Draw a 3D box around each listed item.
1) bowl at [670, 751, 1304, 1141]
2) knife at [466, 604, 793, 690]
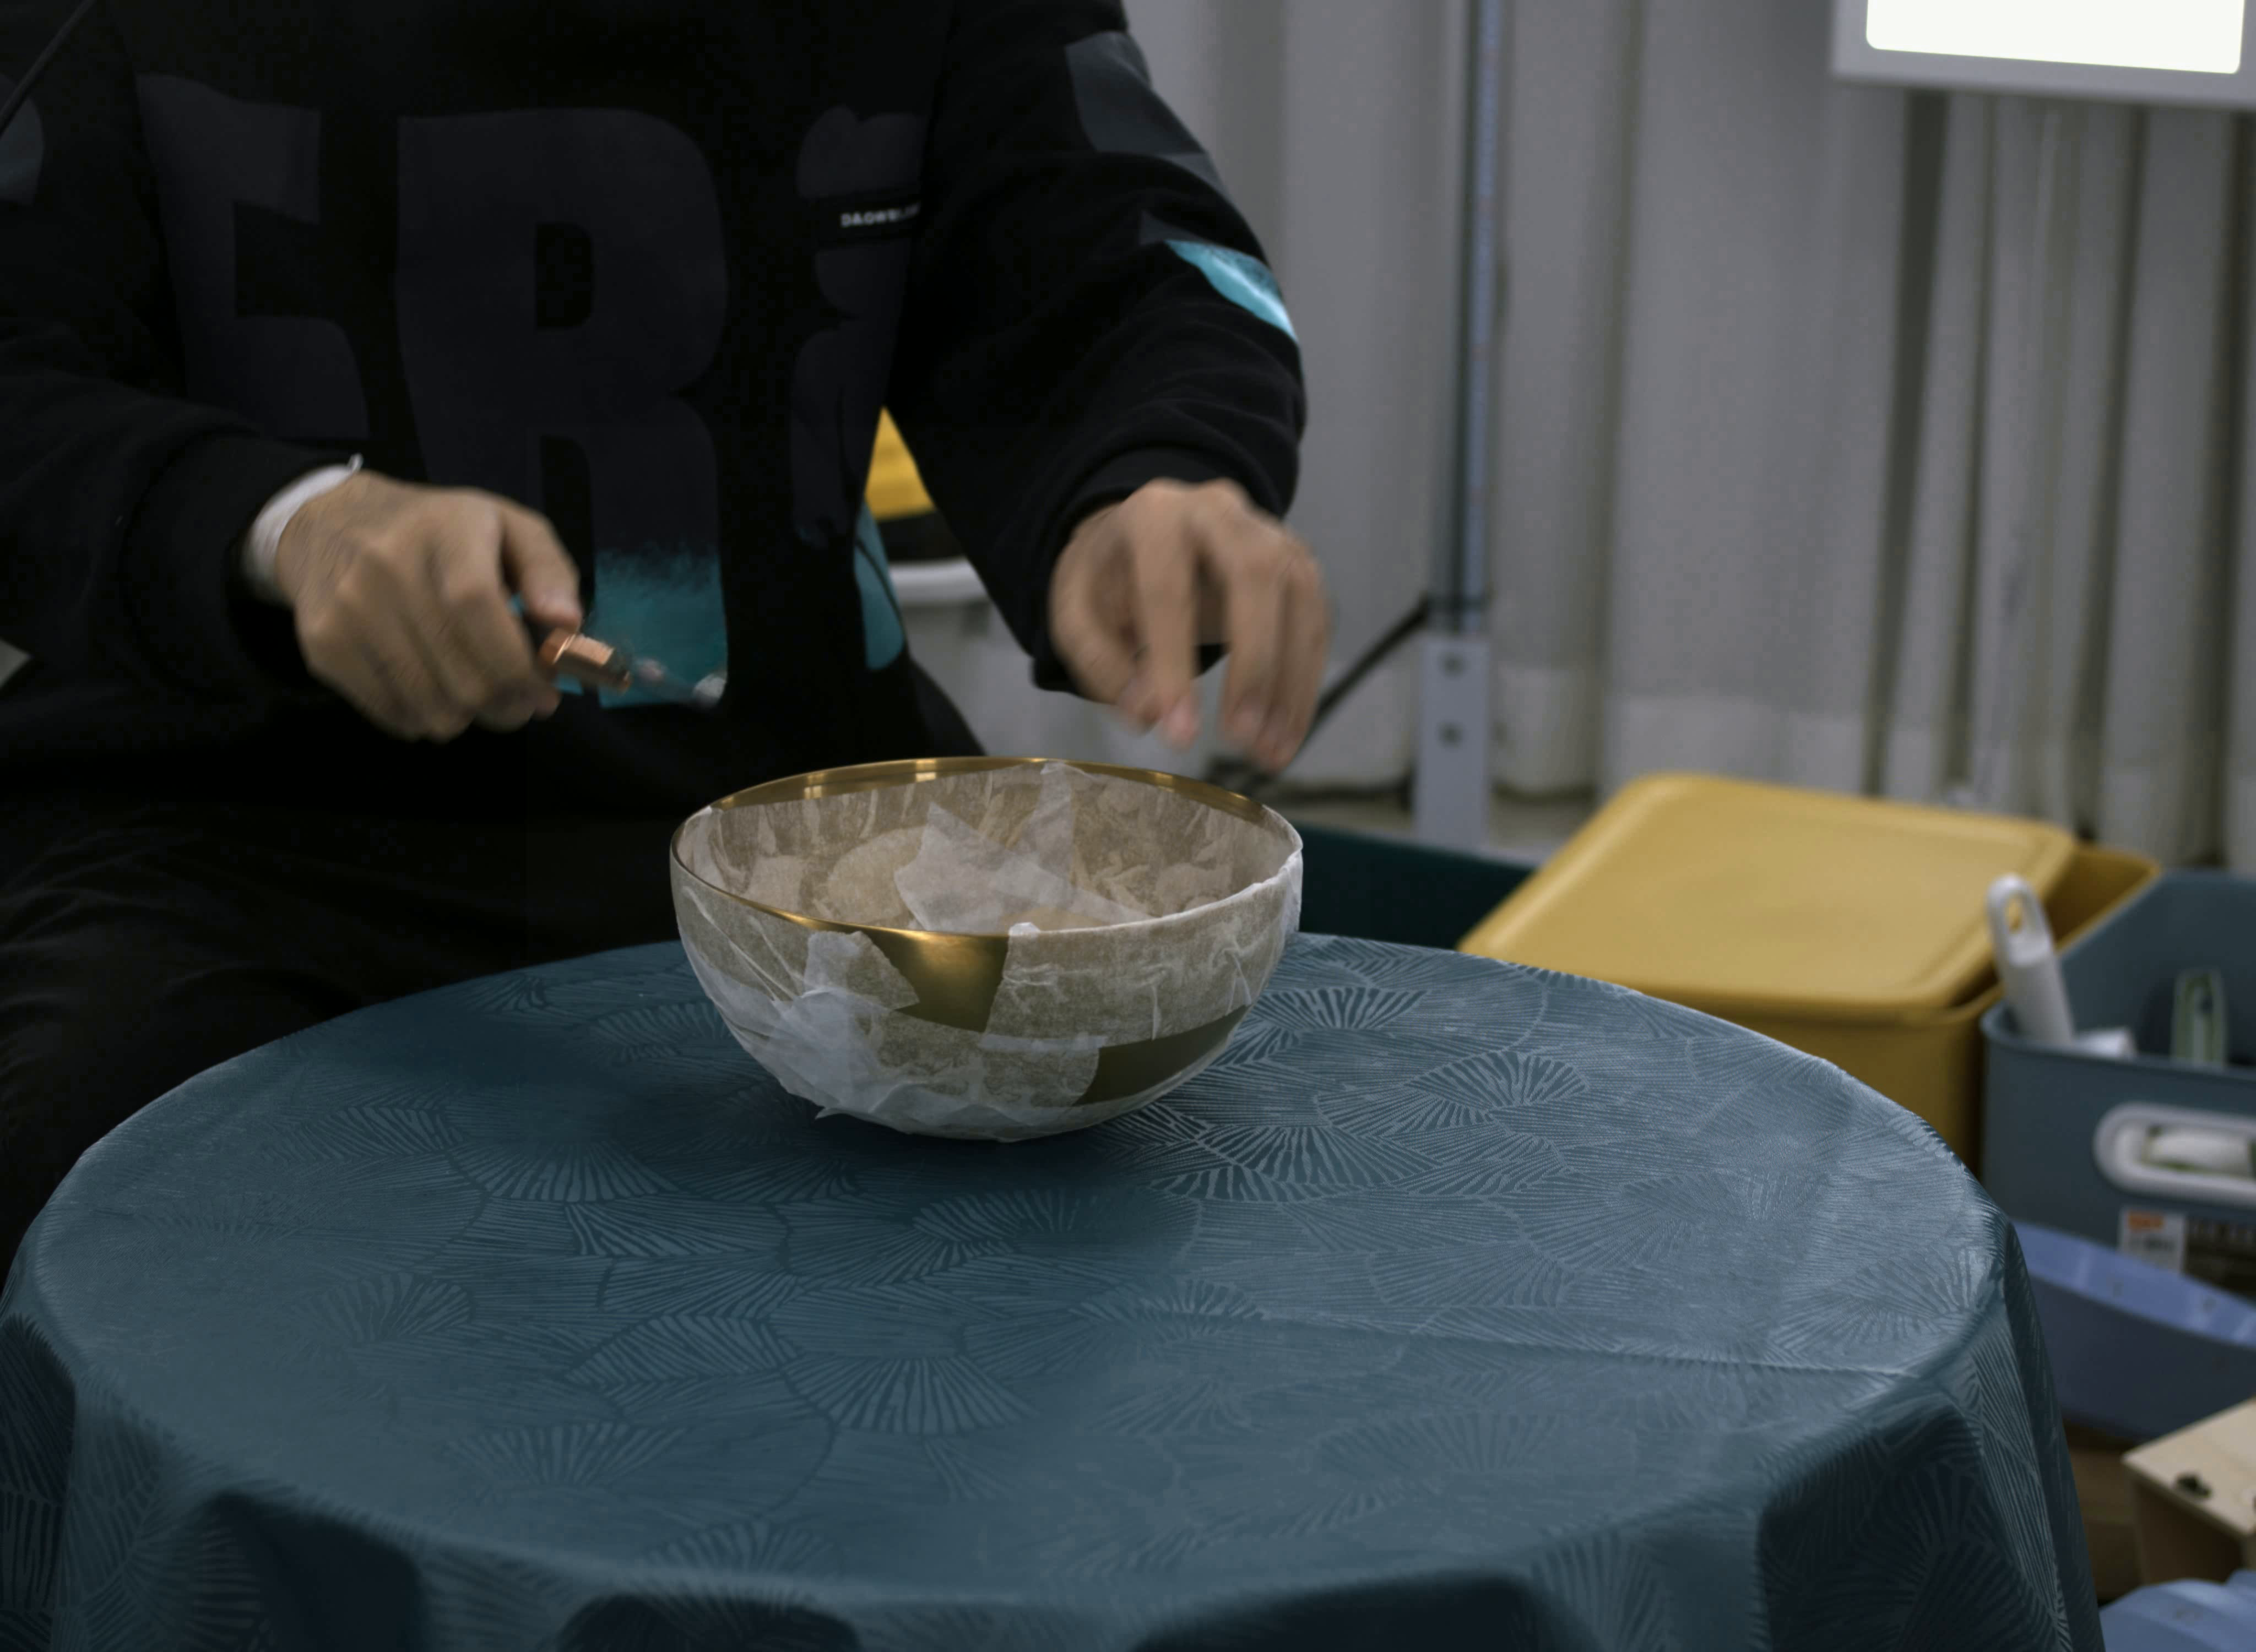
[{"bbox_3d":[-0.046,0.045,1.686,0.214,0.095,0.213,0,17,1],"label":"bowl"},{"bbox_3d":[-0.156,-0.054,1.608,0.026,0.017,0.223,17,-2,-29],"label":"knife"}]
